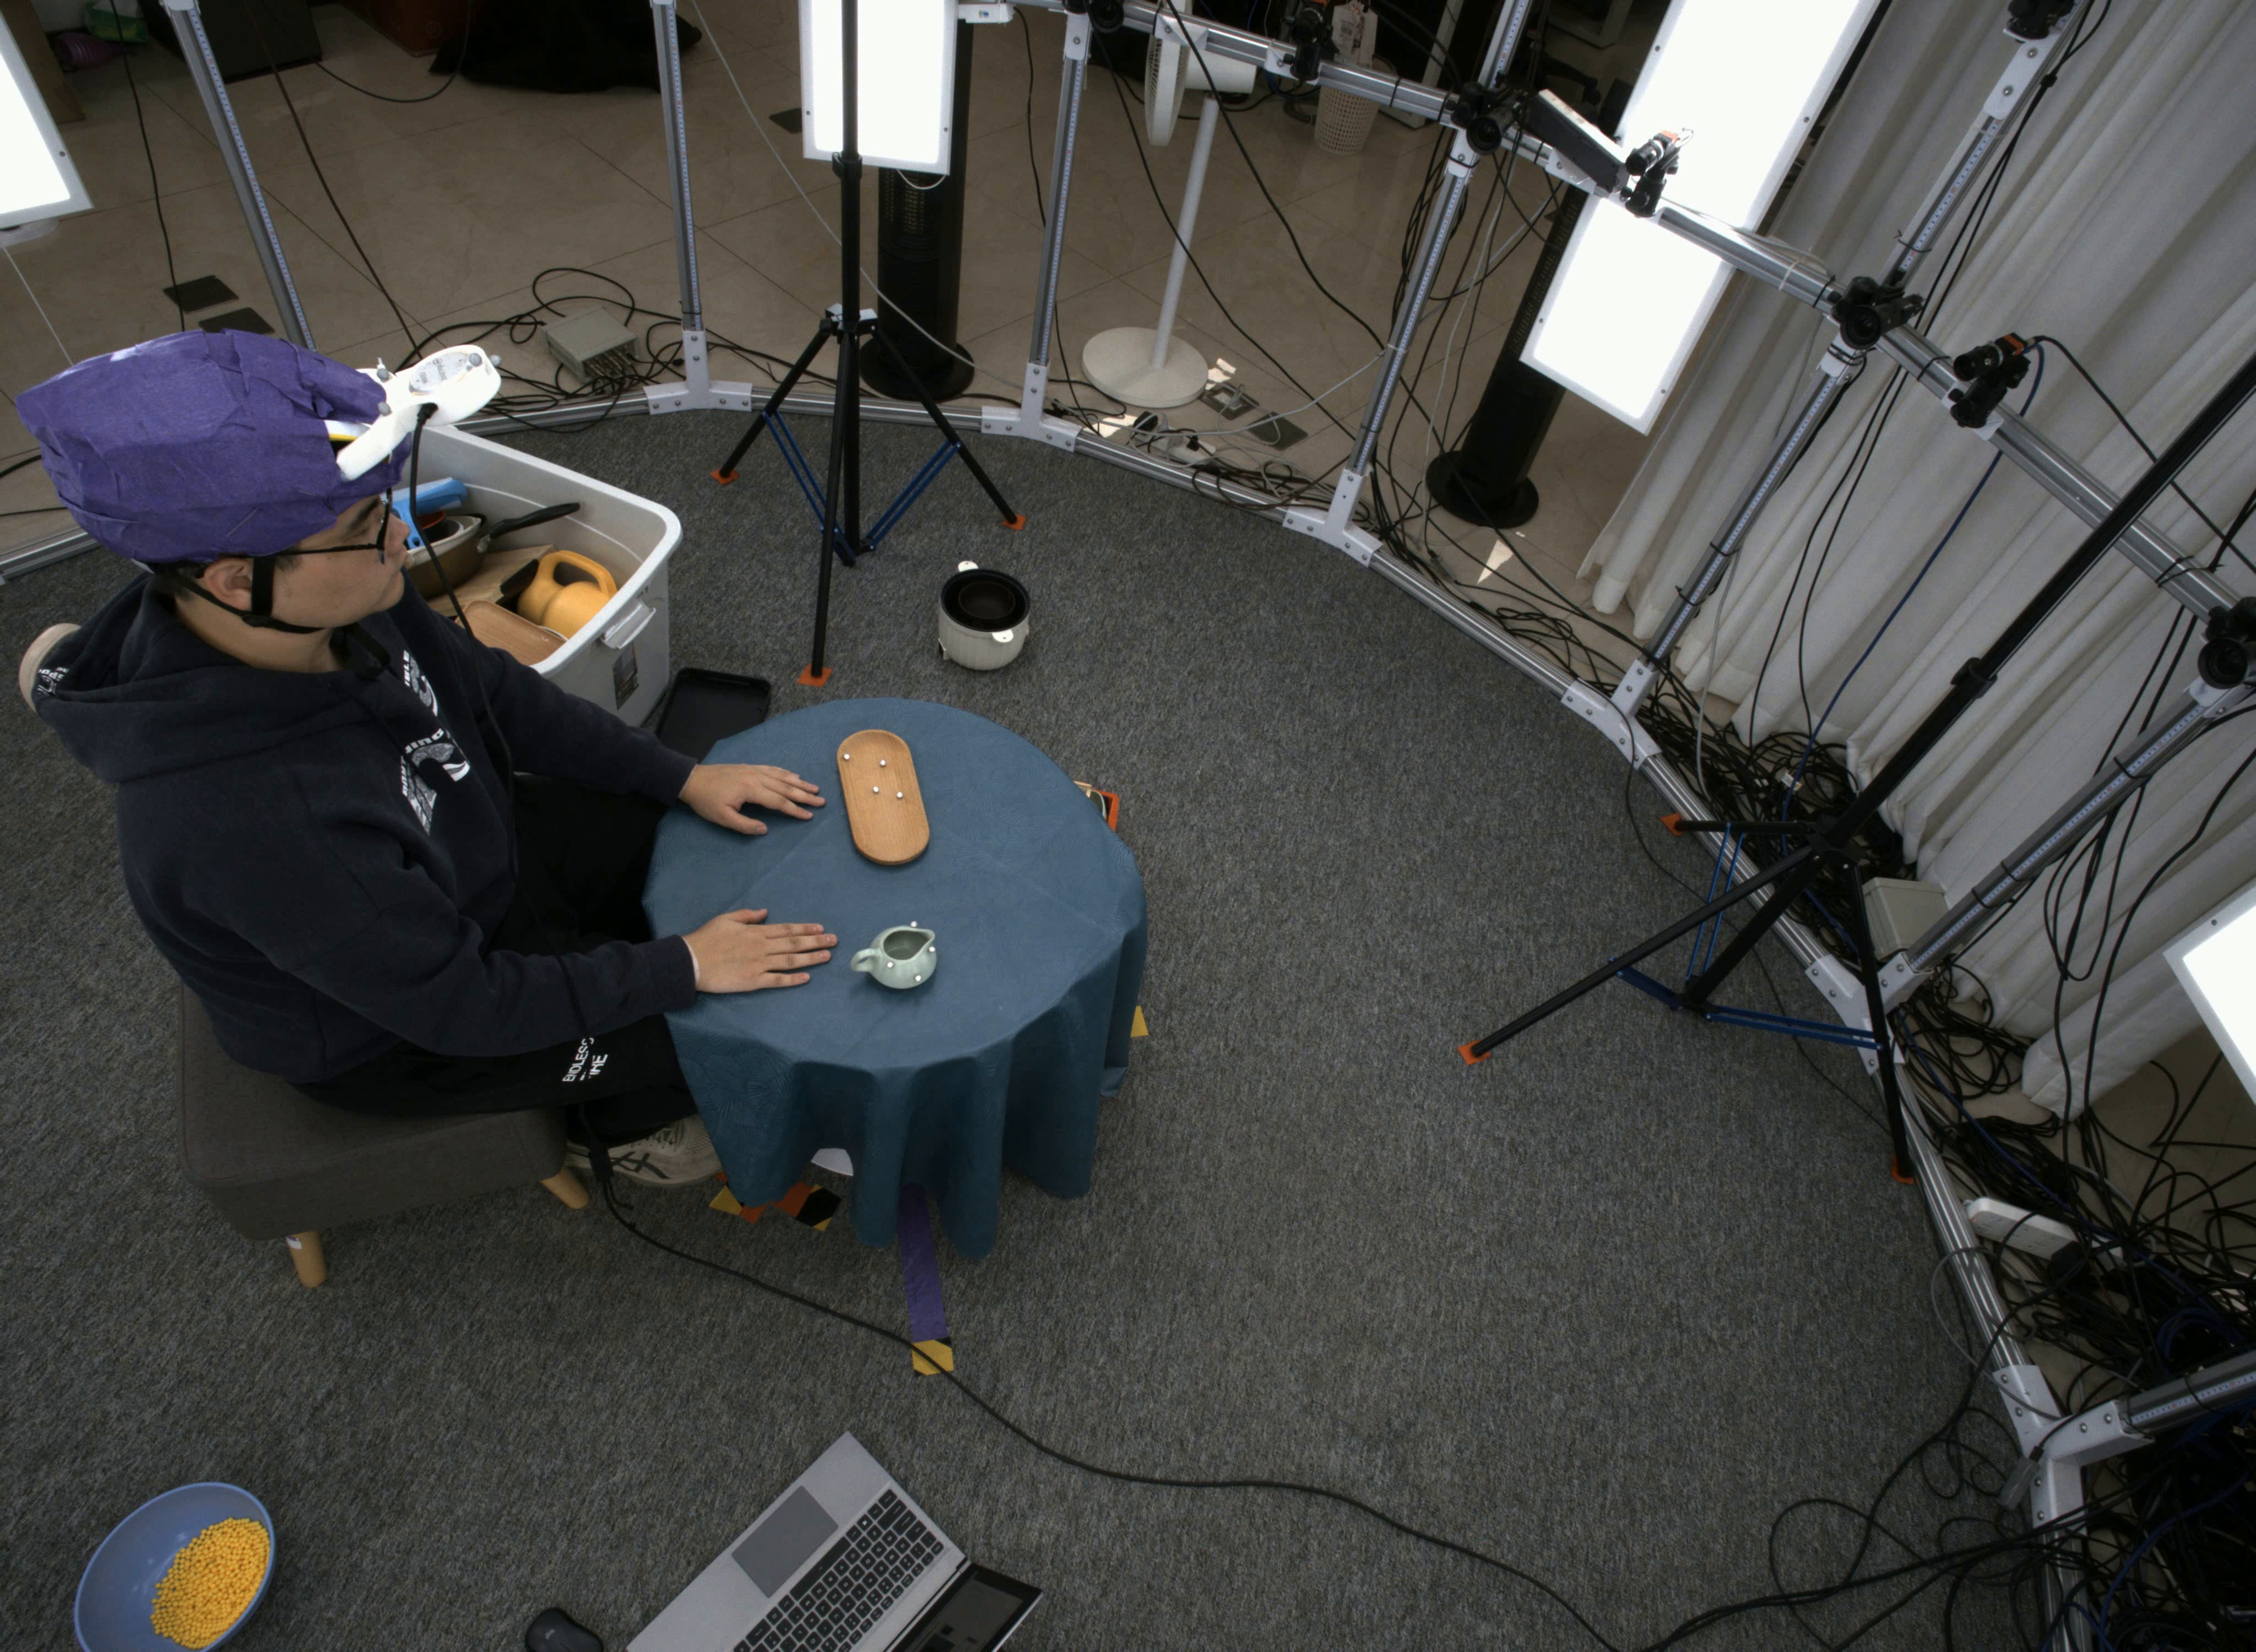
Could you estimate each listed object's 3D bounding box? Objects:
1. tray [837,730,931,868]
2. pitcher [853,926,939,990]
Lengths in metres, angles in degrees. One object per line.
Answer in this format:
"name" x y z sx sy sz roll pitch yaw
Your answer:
"tray" -0.332 -0.039 1.763 0.102 0.021 0.226 -9 59 -18
"pitcher" -0.286 0.161 1.599 0.108 0.062 0.084 -19 58 -23
